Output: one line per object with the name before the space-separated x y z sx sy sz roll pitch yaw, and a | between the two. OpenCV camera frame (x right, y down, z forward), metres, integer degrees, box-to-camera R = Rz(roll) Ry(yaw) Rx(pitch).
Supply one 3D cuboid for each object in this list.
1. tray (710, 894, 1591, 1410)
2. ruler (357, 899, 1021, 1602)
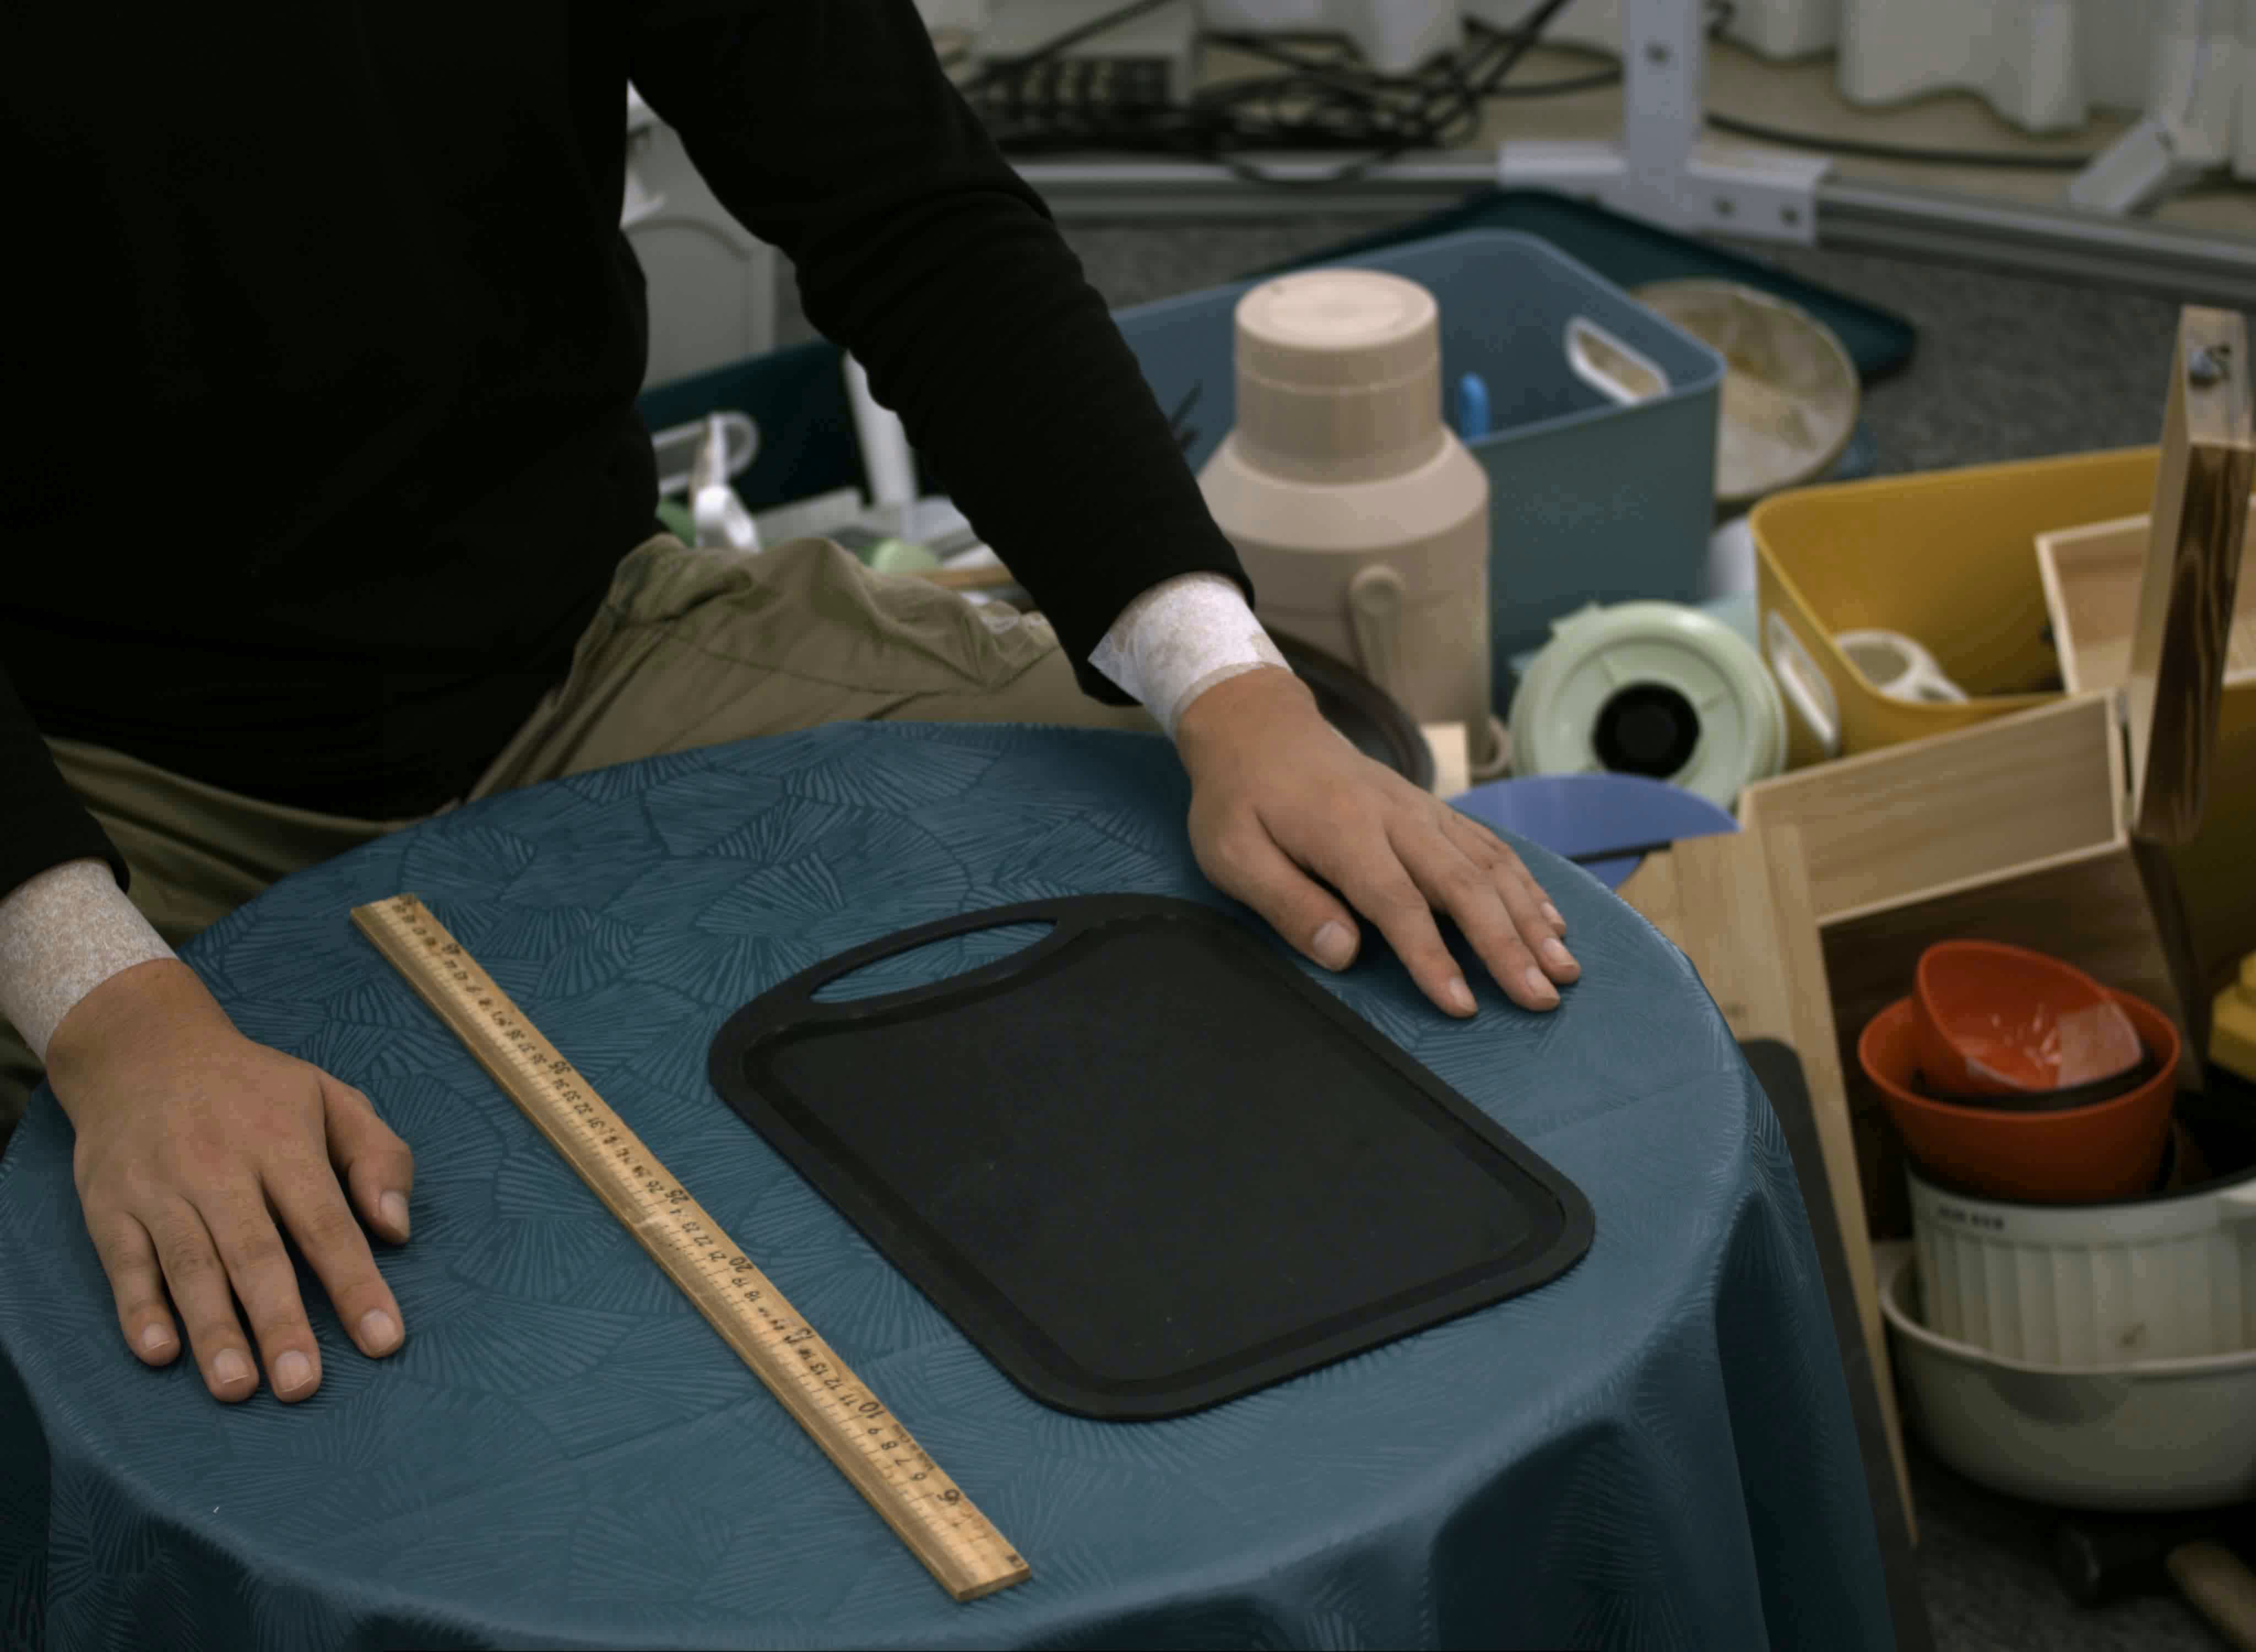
tray | -0.002 0.100 1.895 0.212 0.009 0.327 -16 30 -24
ruler | -0.156 0.128 1.859 0.027 0.006 0.503 -14 29 -24
